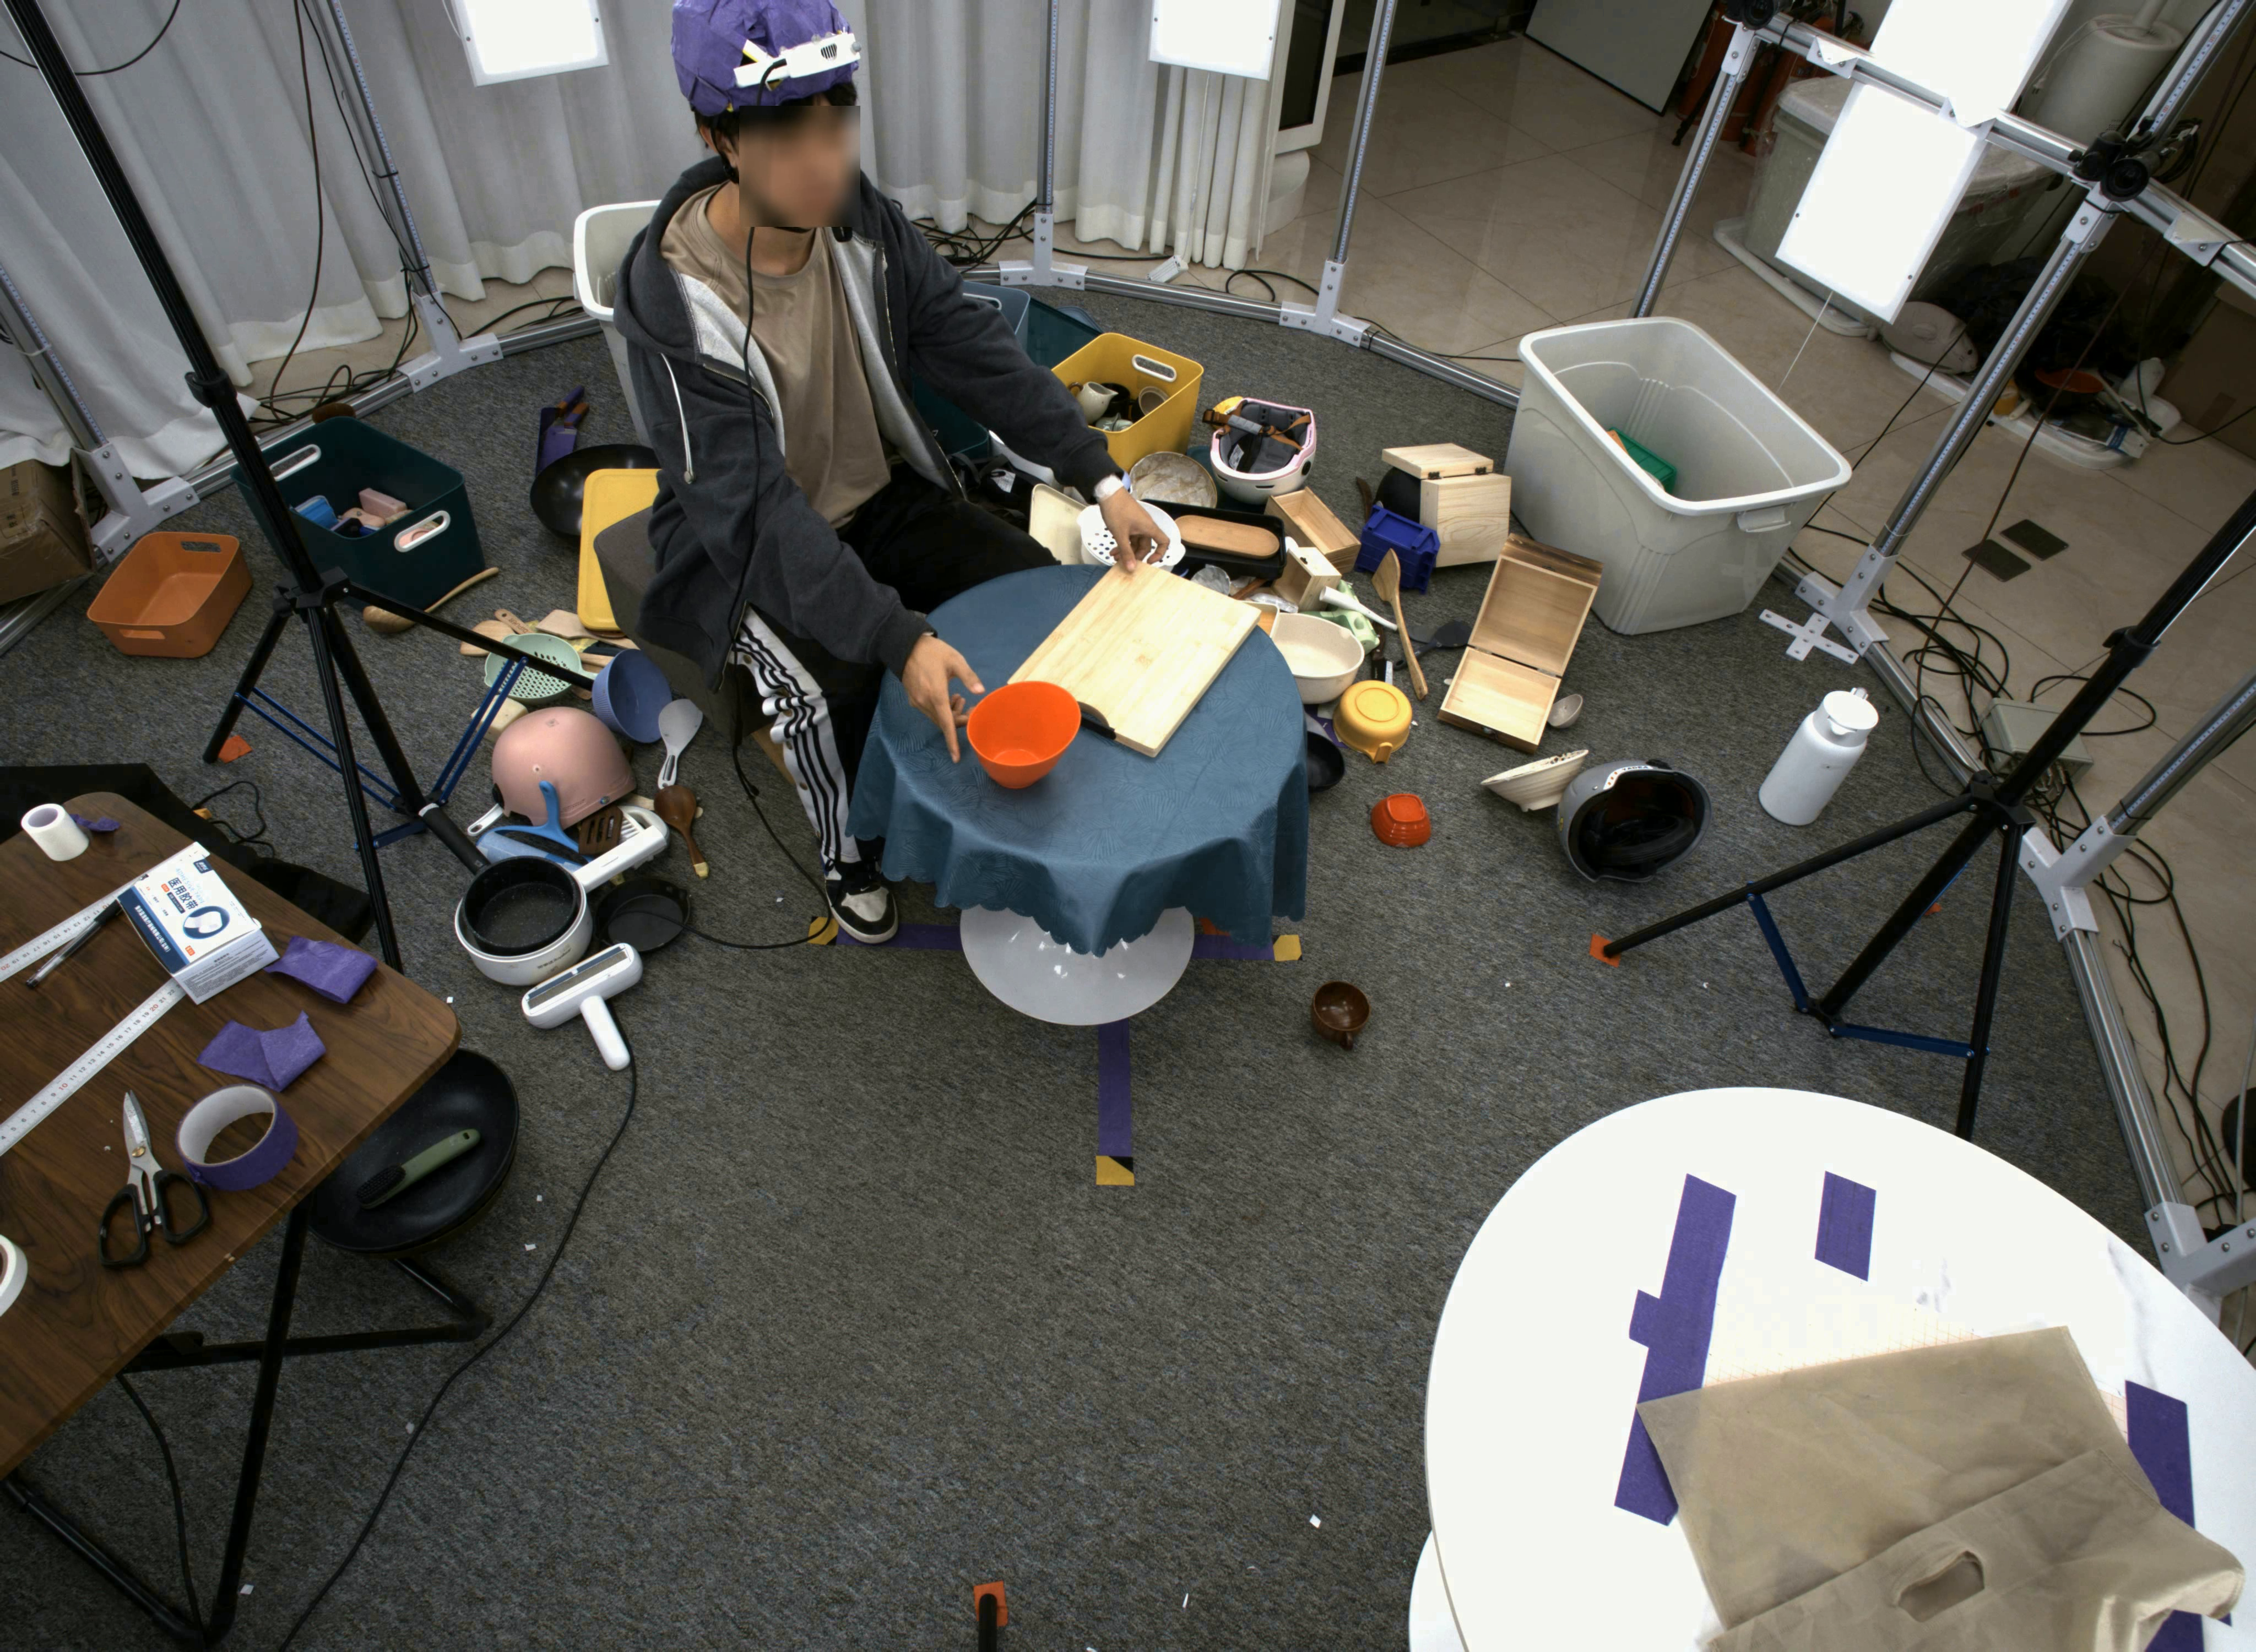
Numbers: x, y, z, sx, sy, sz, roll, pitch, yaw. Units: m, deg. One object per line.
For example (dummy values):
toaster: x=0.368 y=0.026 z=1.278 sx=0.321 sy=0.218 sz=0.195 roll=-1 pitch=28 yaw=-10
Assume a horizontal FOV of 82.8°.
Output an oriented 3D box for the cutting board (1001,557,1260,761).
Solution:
cutting board: x=0.011 y=-0.254 z=1.877 sx=0.252 sy=0.023 sz=0.354 roll=24 pitch=51 yaw=17

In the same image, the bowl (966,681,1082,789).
bowl: x=-0.137 y=-0.108 z=1.684 sx=0.148 sy=0.102 sz=0.152 roll=2 pitch=51 yaw=-3
